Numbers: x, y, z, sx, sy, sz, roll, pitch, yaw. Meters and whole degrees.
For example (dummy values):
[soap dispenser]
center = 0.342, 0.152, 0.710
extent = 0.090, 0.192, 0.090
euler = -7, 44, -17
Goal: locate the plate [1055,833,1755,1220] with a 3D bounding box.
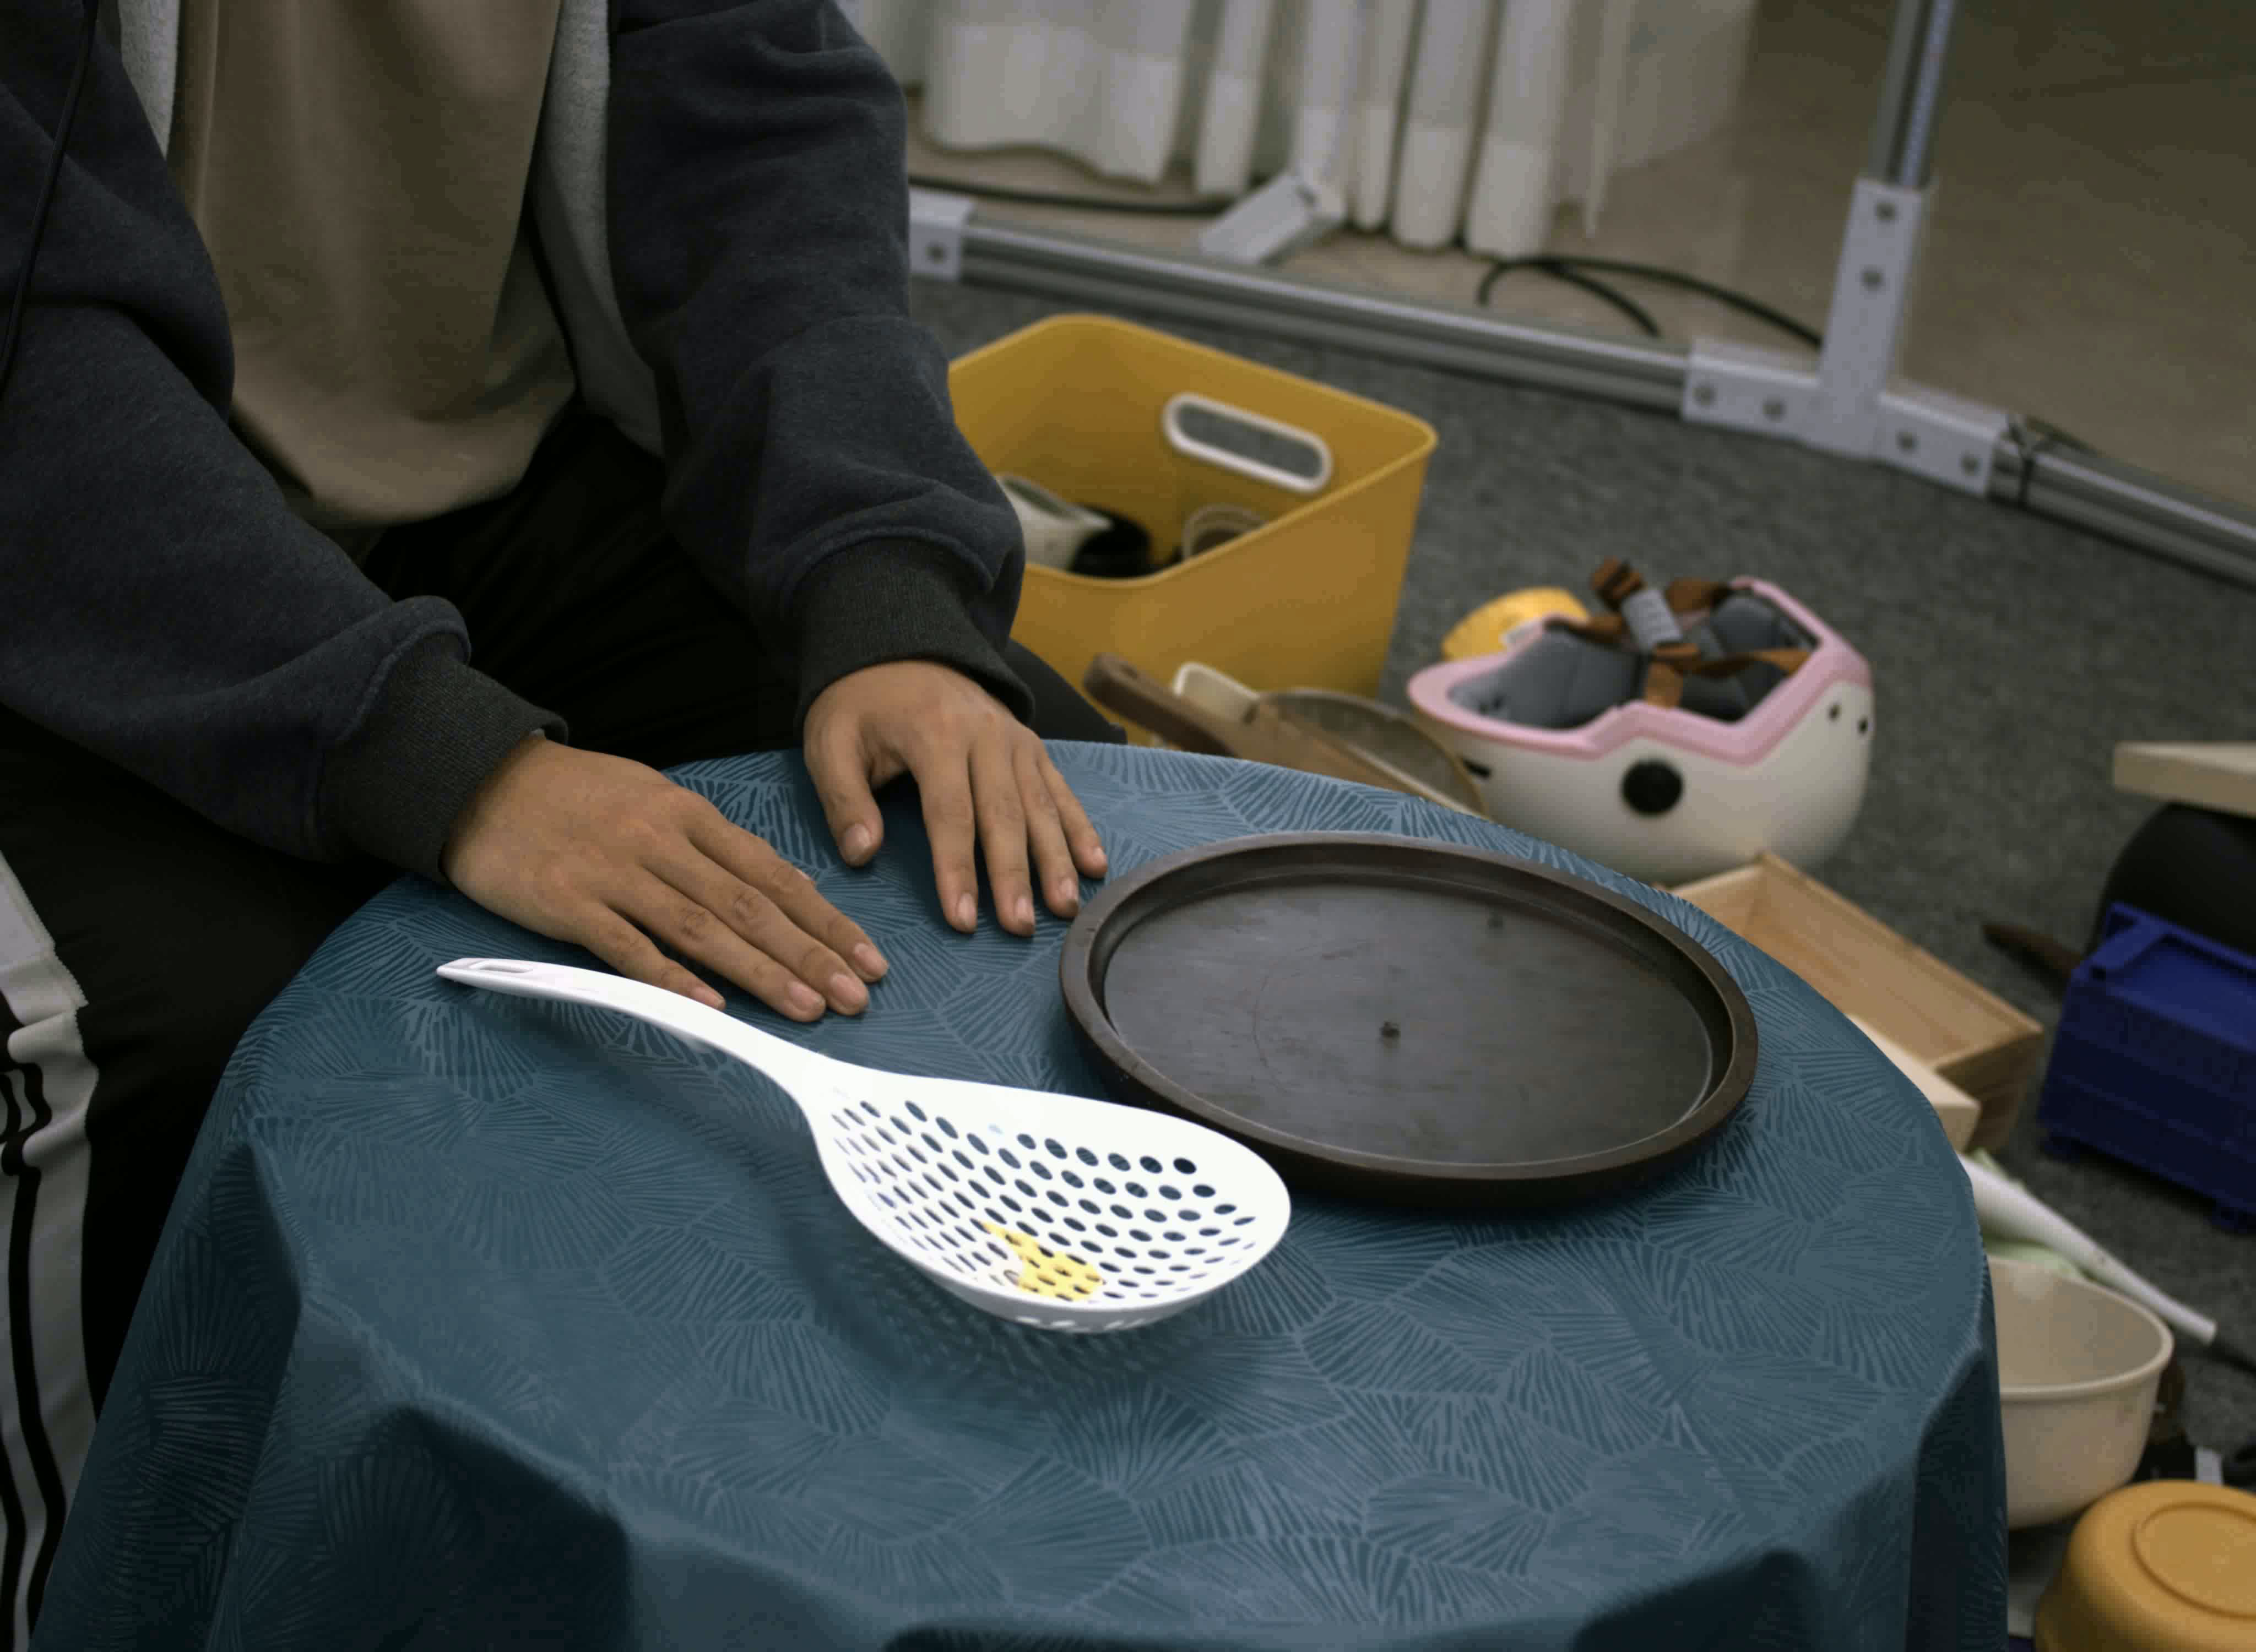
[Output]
[plate]
center = 0.098, 0.069, 1.904
extent = 0.254, 0.029, 0.256
euler = 4, 28, -3

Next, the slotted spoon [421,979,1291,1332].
[slotted spoon]
center = -0.103, 0.096, 1.786
extent = 0.350, 0.050, 0.136
euler = 25, 34, 31
